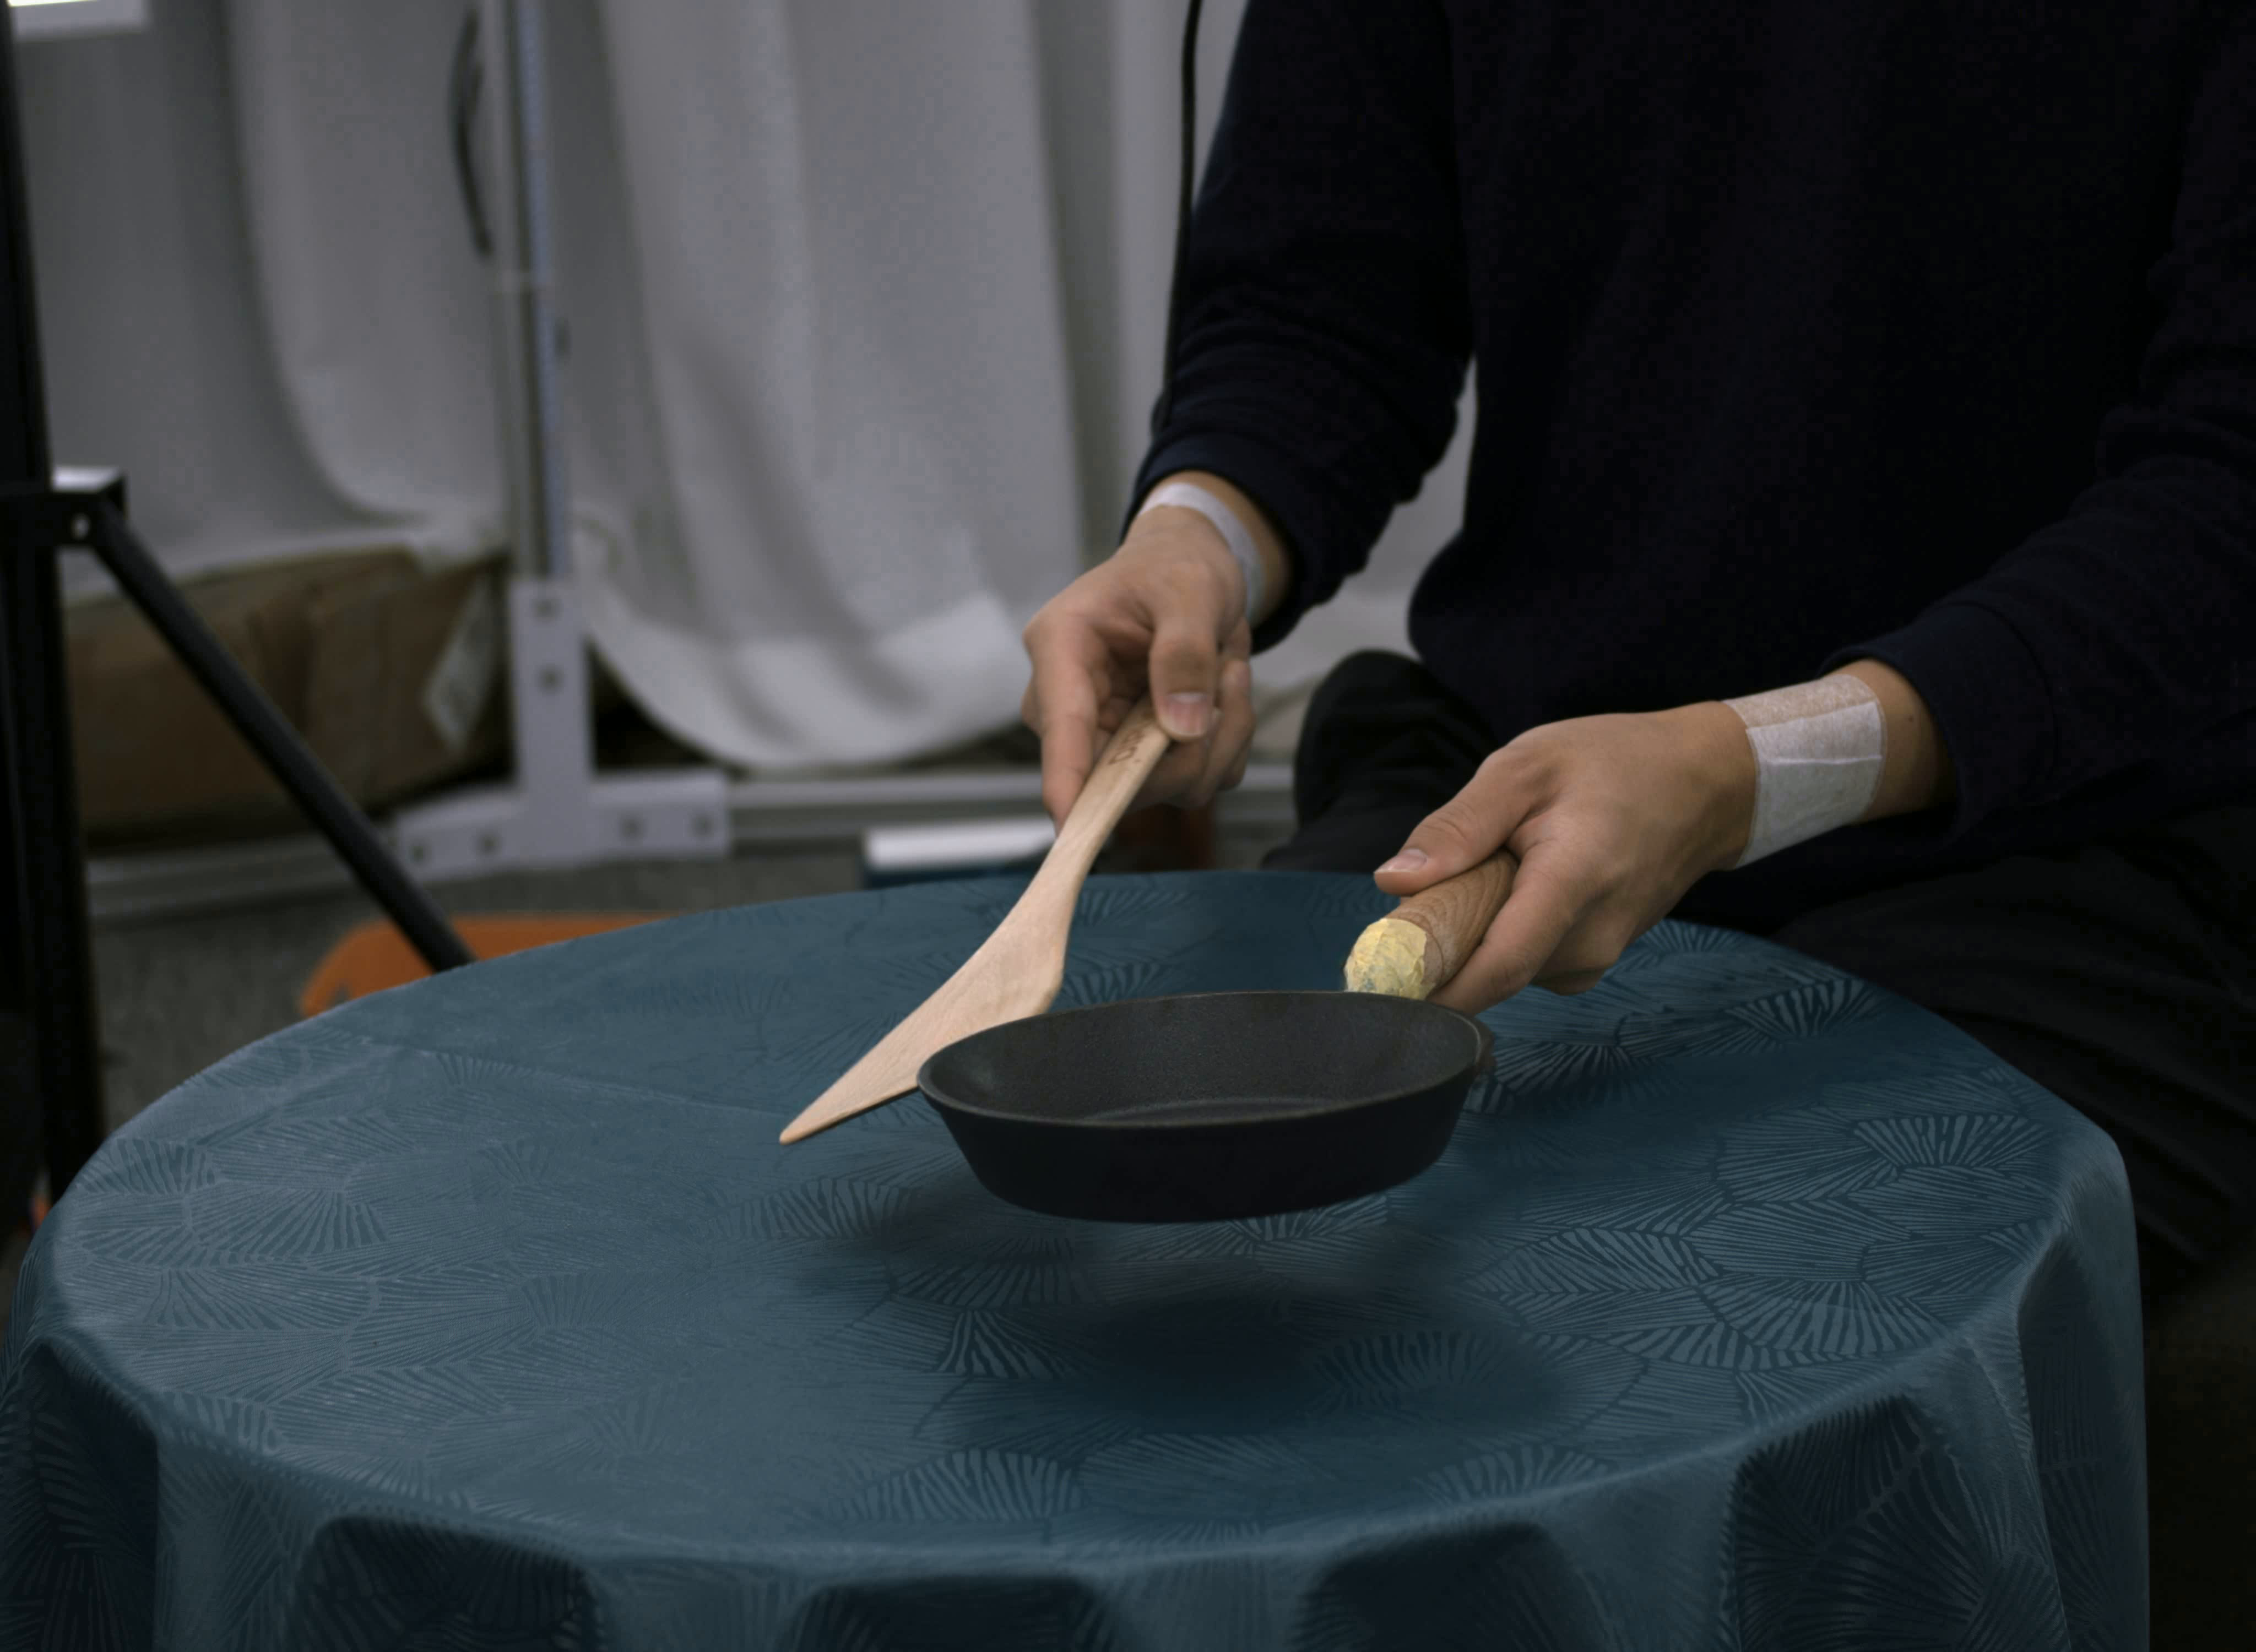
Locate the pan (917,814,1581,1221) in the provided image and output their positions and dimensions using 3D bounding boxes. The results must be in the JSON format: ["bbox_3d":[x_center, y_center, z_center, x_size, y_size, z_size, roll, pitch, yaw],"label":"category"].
[{"bbox_3d":[0.062,0.052,1.509,0.172,0.049,0.318,1,13,30],"label":"pan"}]

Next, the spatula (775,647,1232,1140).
[{"bbox_3d":[-0.021,0.012,1.633,0.081,0.016,0.326,-19,20,26],"label":"spatula"}]
